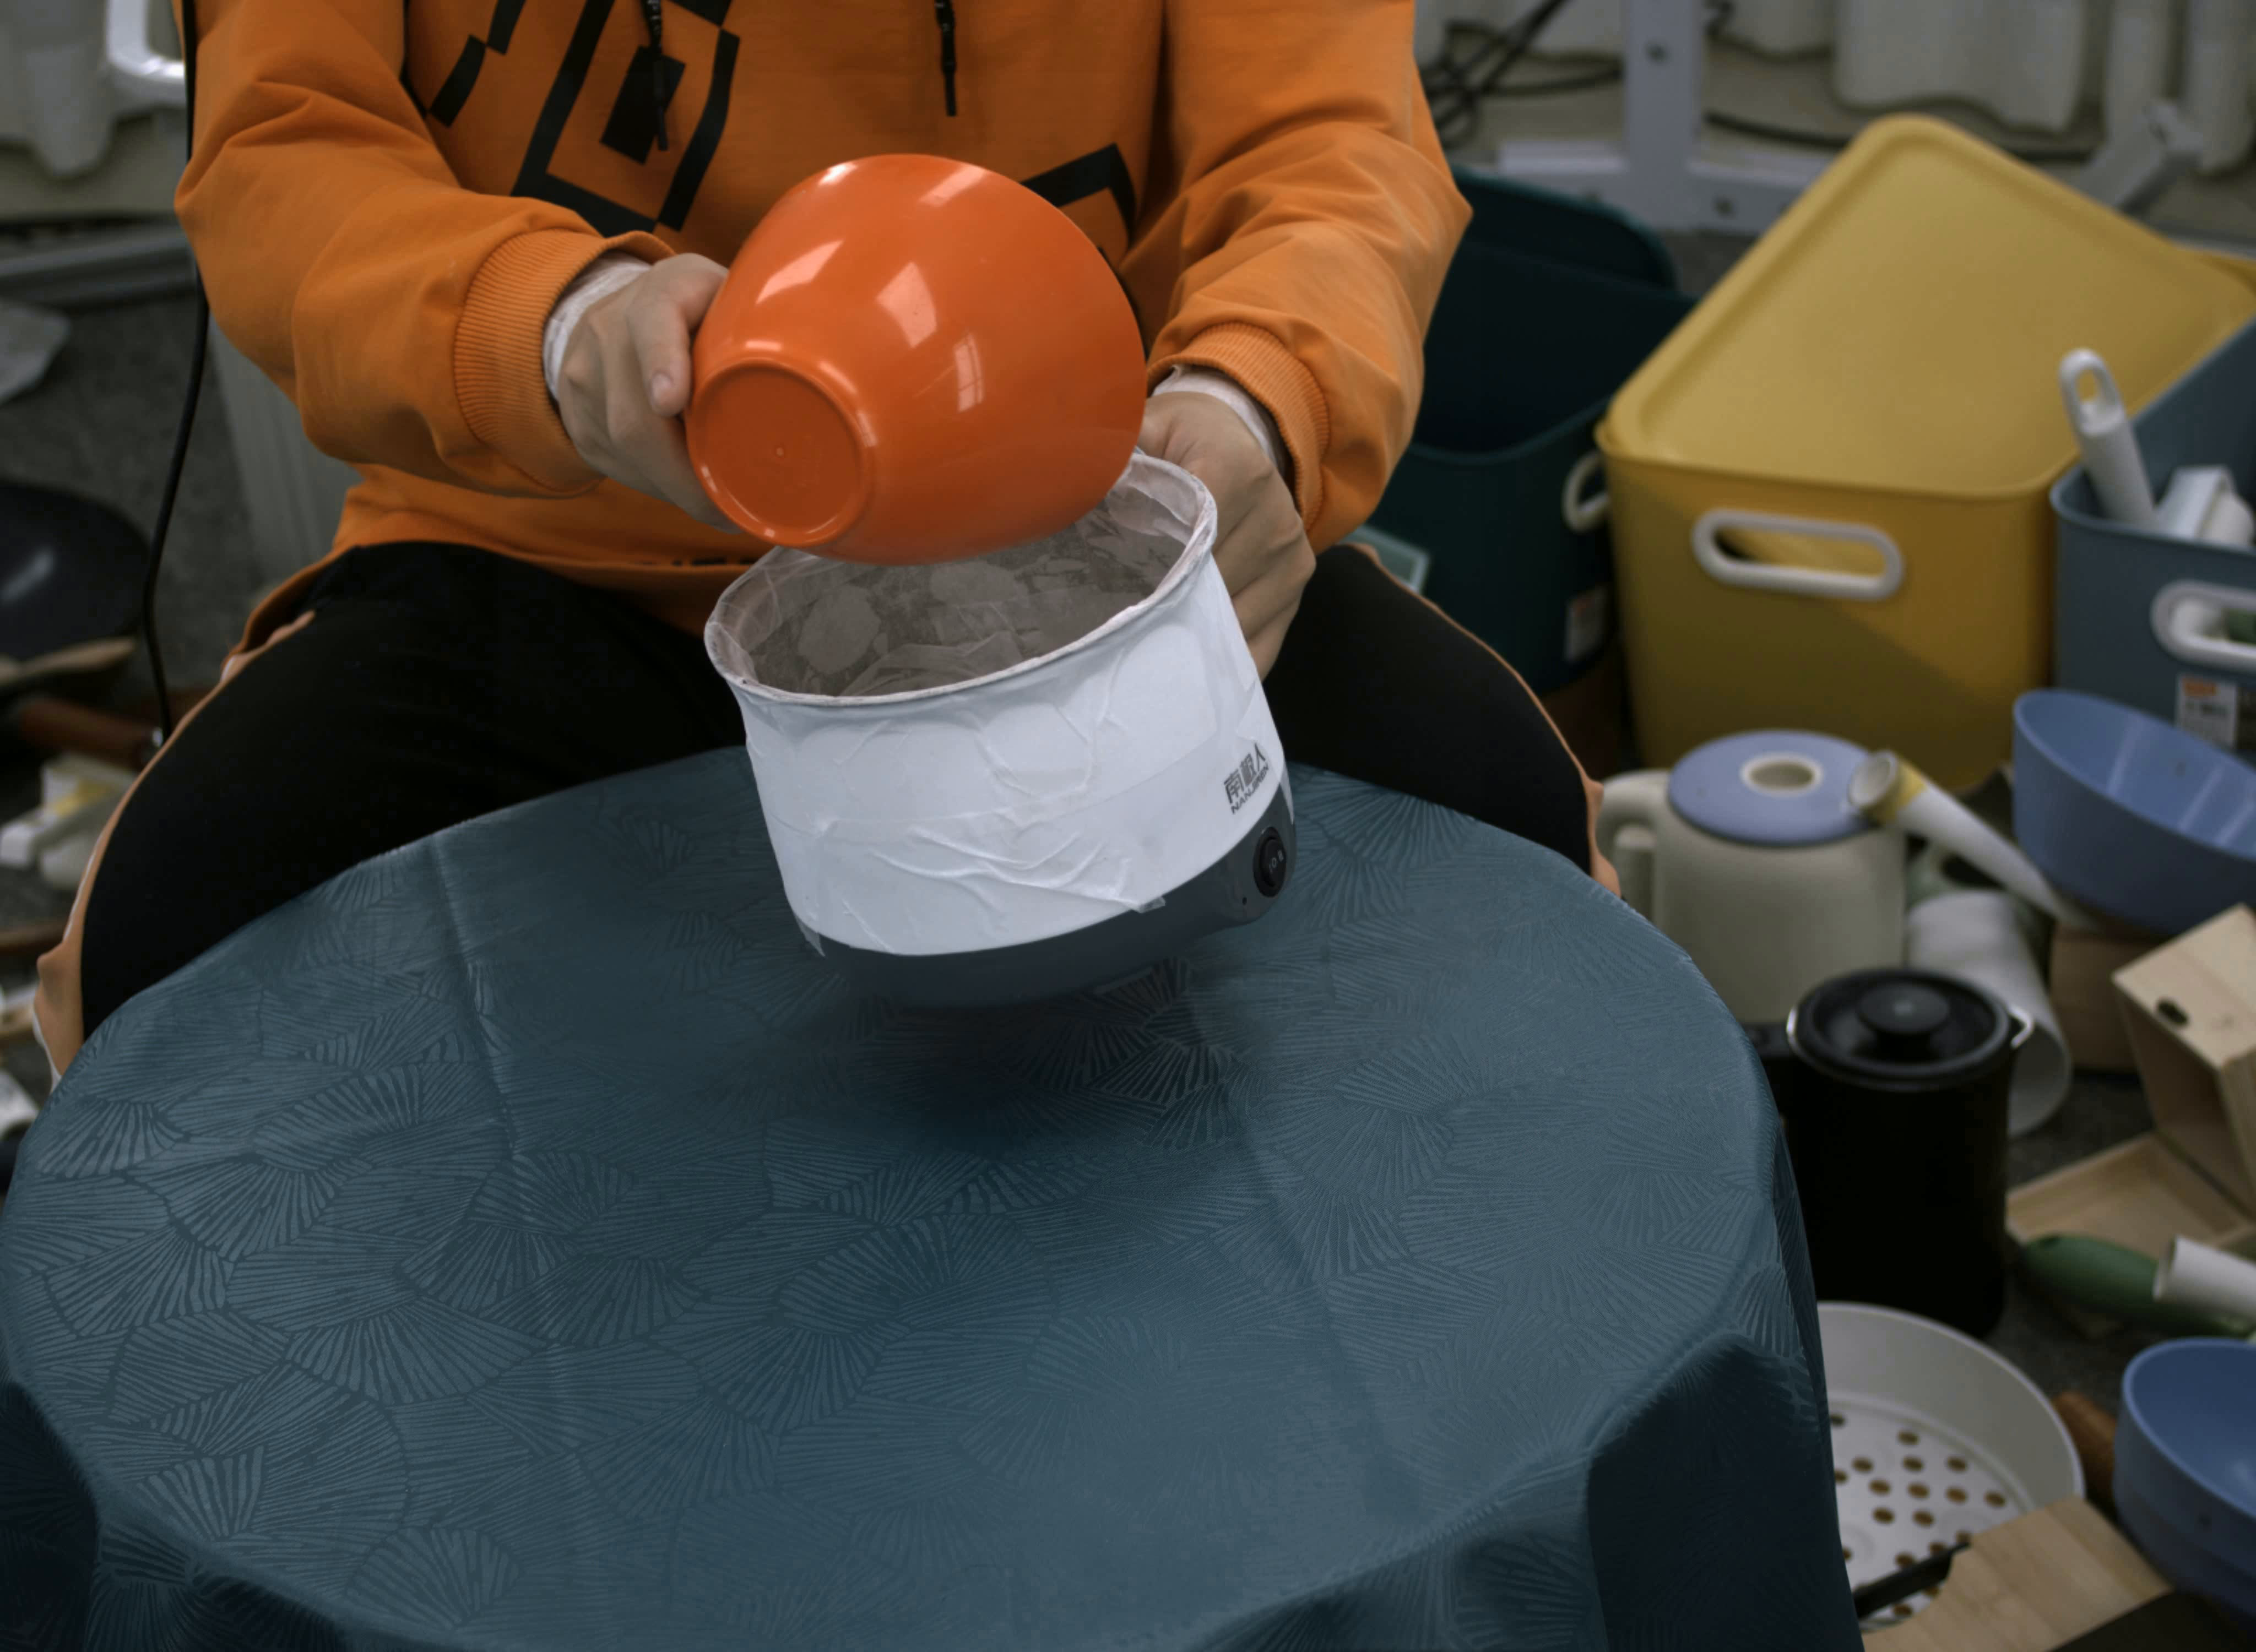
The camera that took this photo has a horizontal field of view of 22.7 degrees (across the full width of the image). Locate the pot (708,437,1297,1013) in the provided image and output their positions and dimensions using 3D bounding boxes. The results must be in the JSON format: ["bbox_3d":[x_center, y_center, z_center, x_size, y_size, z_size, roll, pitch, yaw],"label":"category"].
[{"bbox_3d":[-0.029,-0.045,1.924,0.177,0.135,0.238,-1,30,27],"label":"pot"}]

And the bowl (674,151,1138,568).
[{"bbox_3d":[-0.084,-0.139,1.853,0.147,0.146,0.106,9,30,22],"label":"bowl"}]
